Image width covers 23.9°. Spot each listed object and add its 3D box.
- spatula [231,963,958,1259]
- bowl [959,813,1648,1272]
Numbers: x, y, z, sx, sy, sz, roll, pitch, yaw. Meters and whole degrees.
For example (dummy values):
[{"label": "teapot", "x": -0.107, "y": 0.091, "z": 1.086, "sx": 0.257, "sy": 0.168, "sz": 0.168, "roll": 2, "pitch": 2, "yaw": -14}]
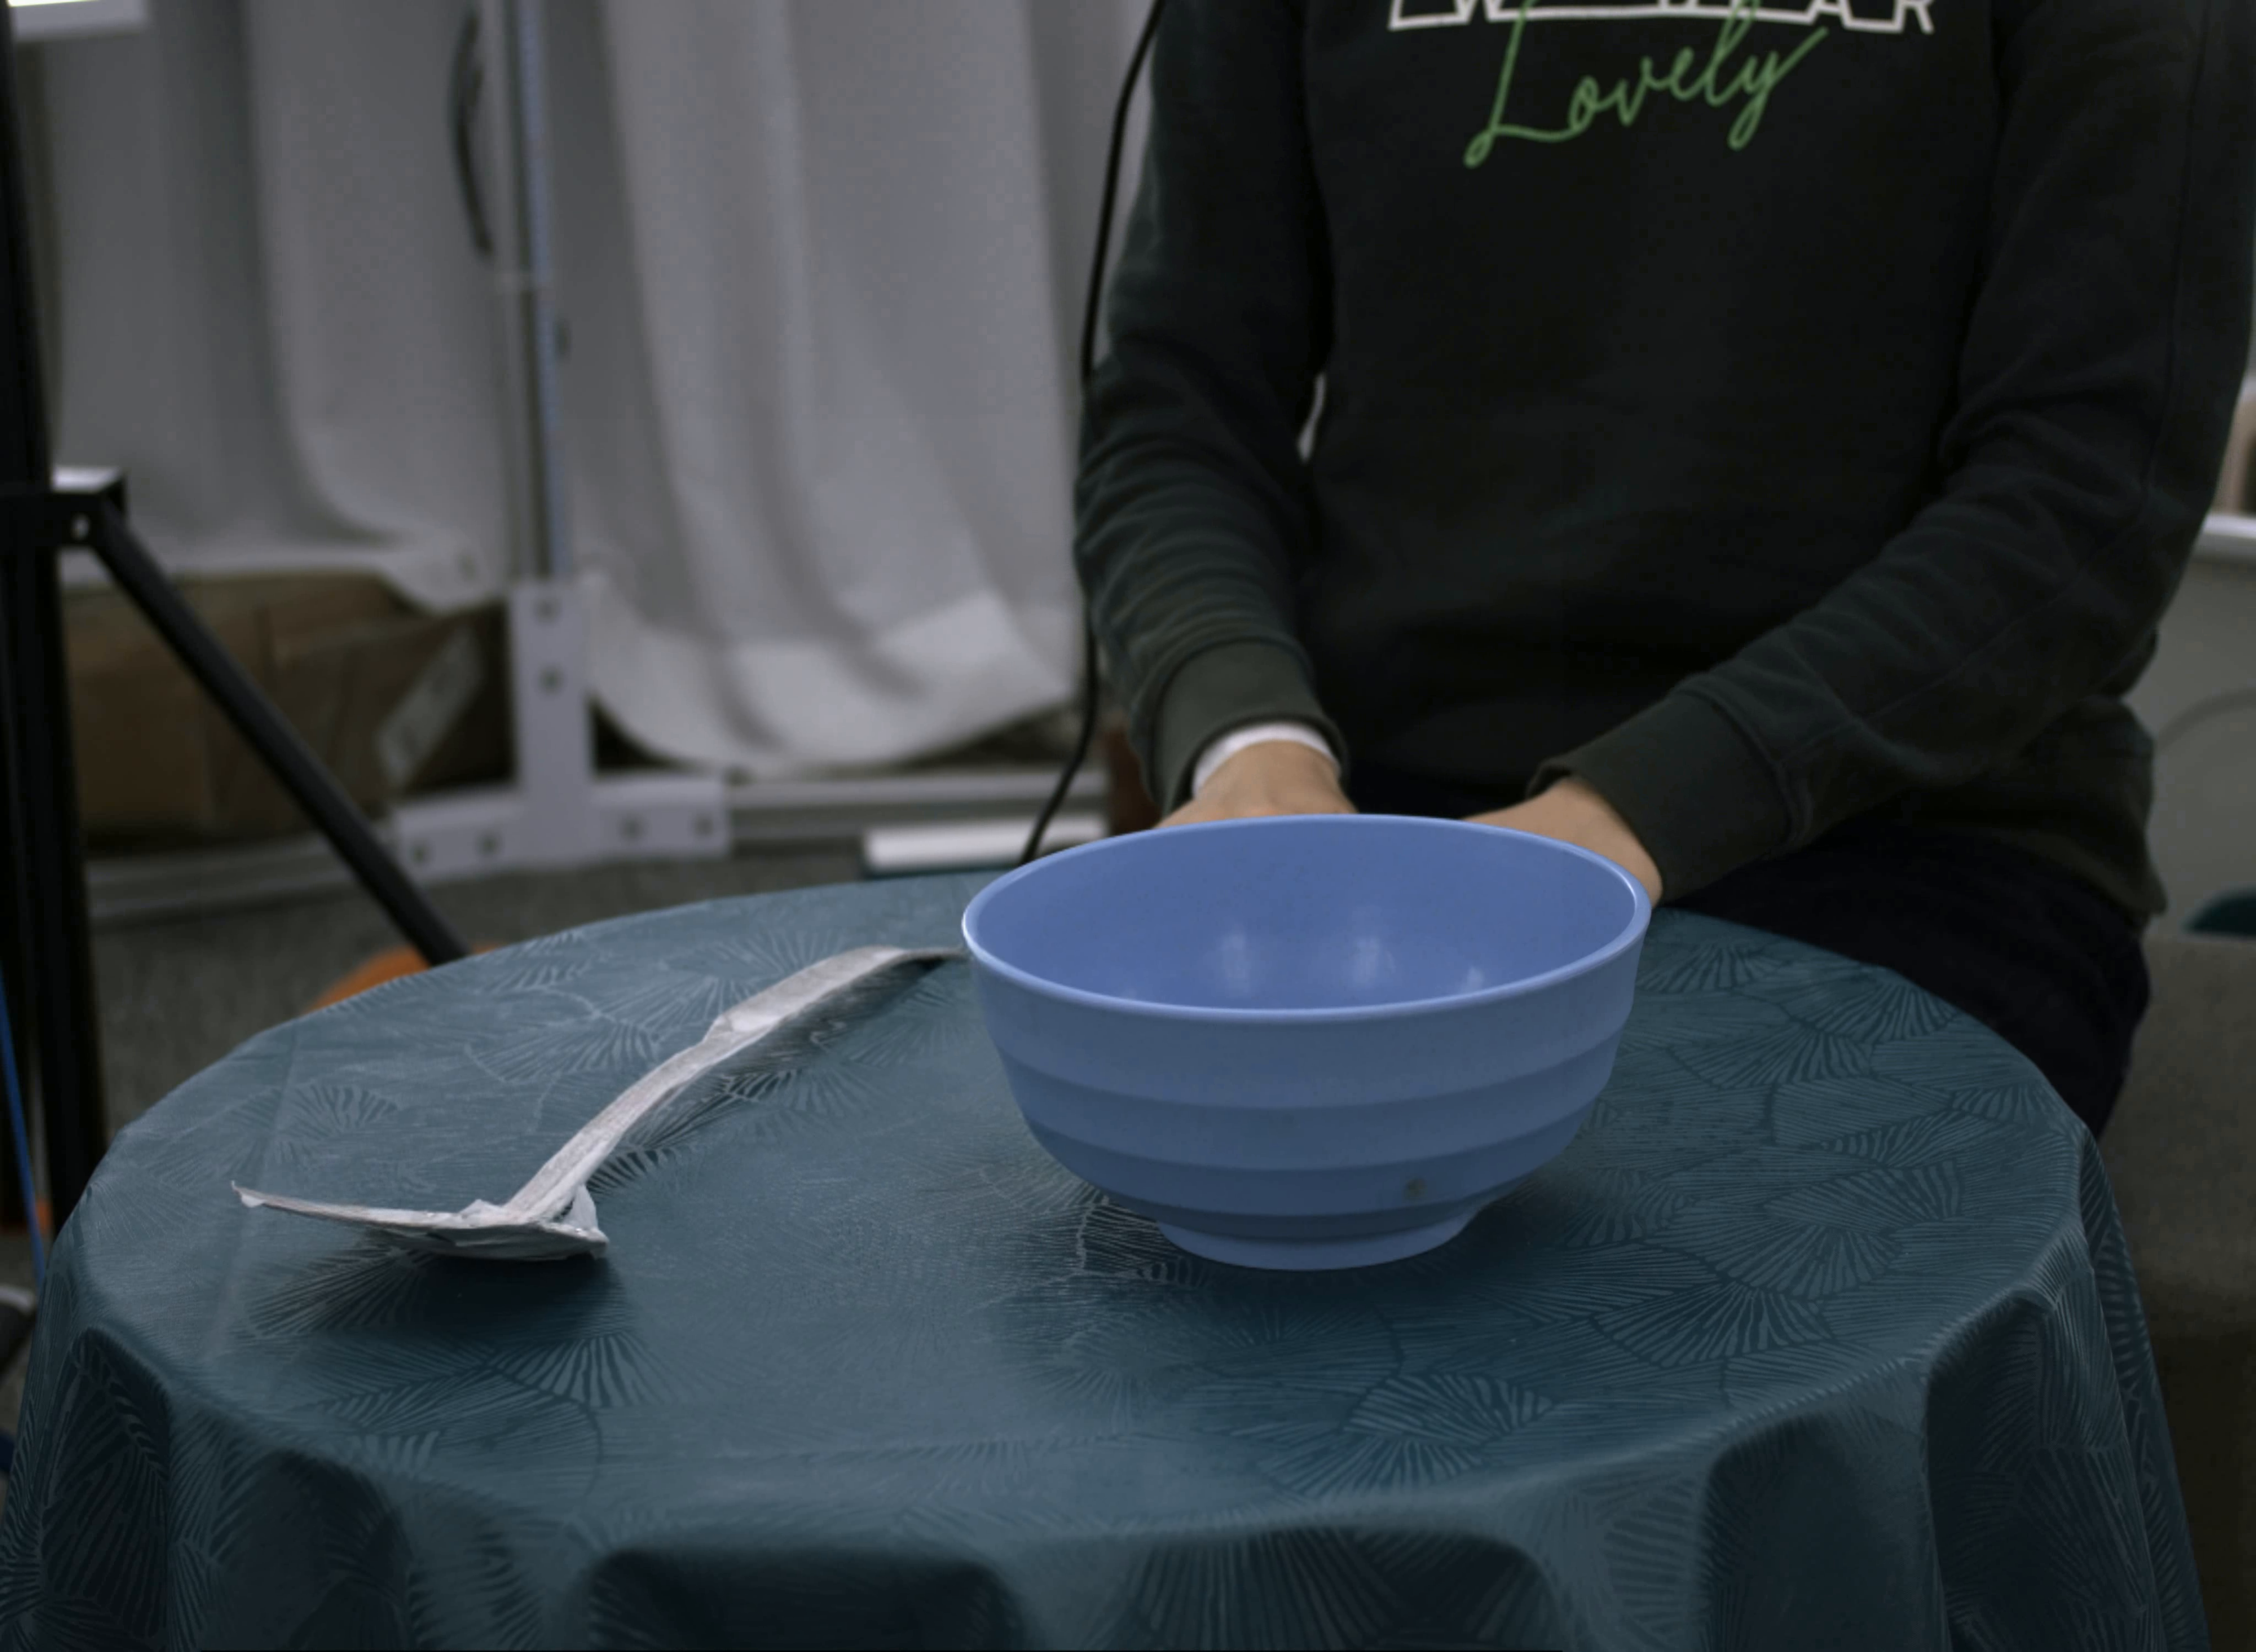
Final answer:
[{"label": "spatula", "x": -0.140, "y": 0.077, "z": 1.621, "sx": 0.100, "sy": 0.045, "sz": 0.359, "roll": 3, "pitch": 17, "yaw": 24}, {"label": "bowl", "x": 0.052, "y": 0.067, "z": 1.518, "sx": 0.195, "sy": 0.095, "sz": 0.197, "roll": -4, "pitch": 16, "yaw": 0}]
